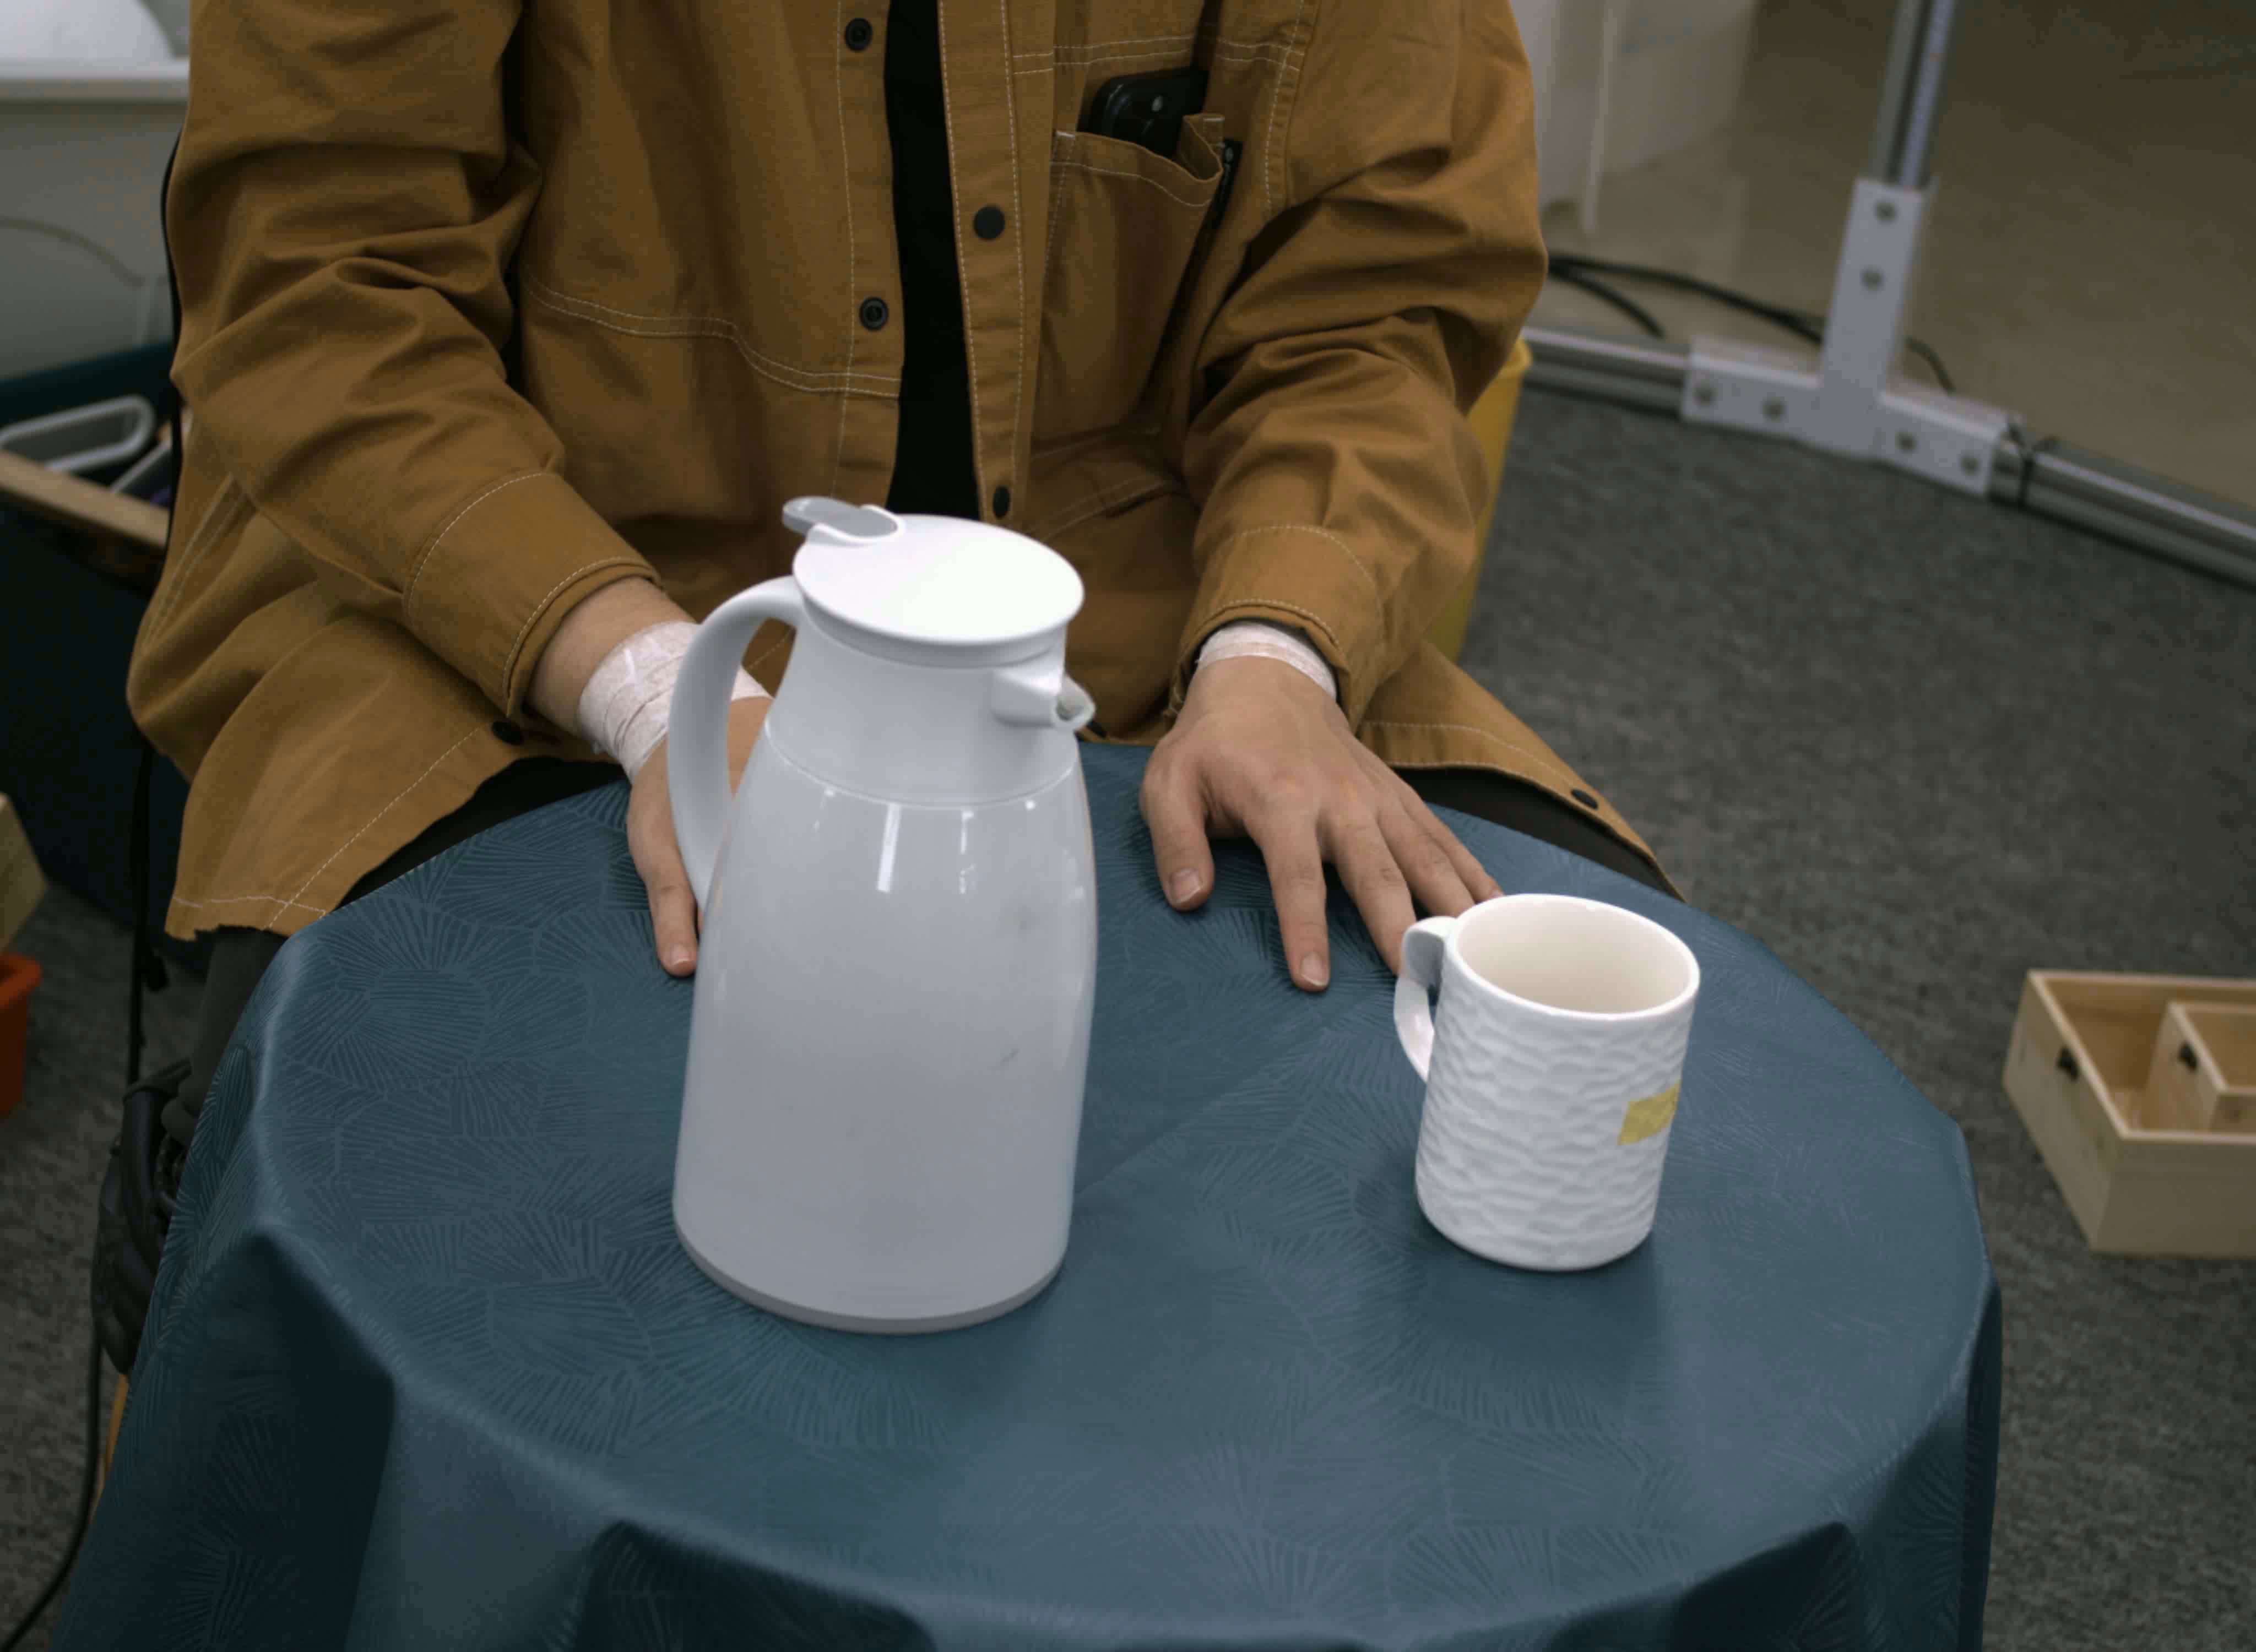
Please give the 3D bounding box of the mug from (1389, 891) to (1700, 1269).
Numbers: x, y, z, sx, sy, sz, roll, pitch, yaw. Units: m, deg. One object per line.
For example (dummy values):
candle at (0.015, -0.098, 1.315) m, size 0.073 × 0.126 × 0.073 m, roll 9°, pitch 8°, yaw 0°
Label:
mug at (0.132, 0.080, 1.807) m, size 0.084 × 0.101 × 0.119 m, roll -16°, pitch 34°, yaw -39°

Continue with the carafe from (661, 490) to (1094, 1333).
carafe at (-0.088, 0.017, 1.722) m, size 0.169 × 0.248 × 0.132 m, roll 26°, pitch 33°, yaw 34°
